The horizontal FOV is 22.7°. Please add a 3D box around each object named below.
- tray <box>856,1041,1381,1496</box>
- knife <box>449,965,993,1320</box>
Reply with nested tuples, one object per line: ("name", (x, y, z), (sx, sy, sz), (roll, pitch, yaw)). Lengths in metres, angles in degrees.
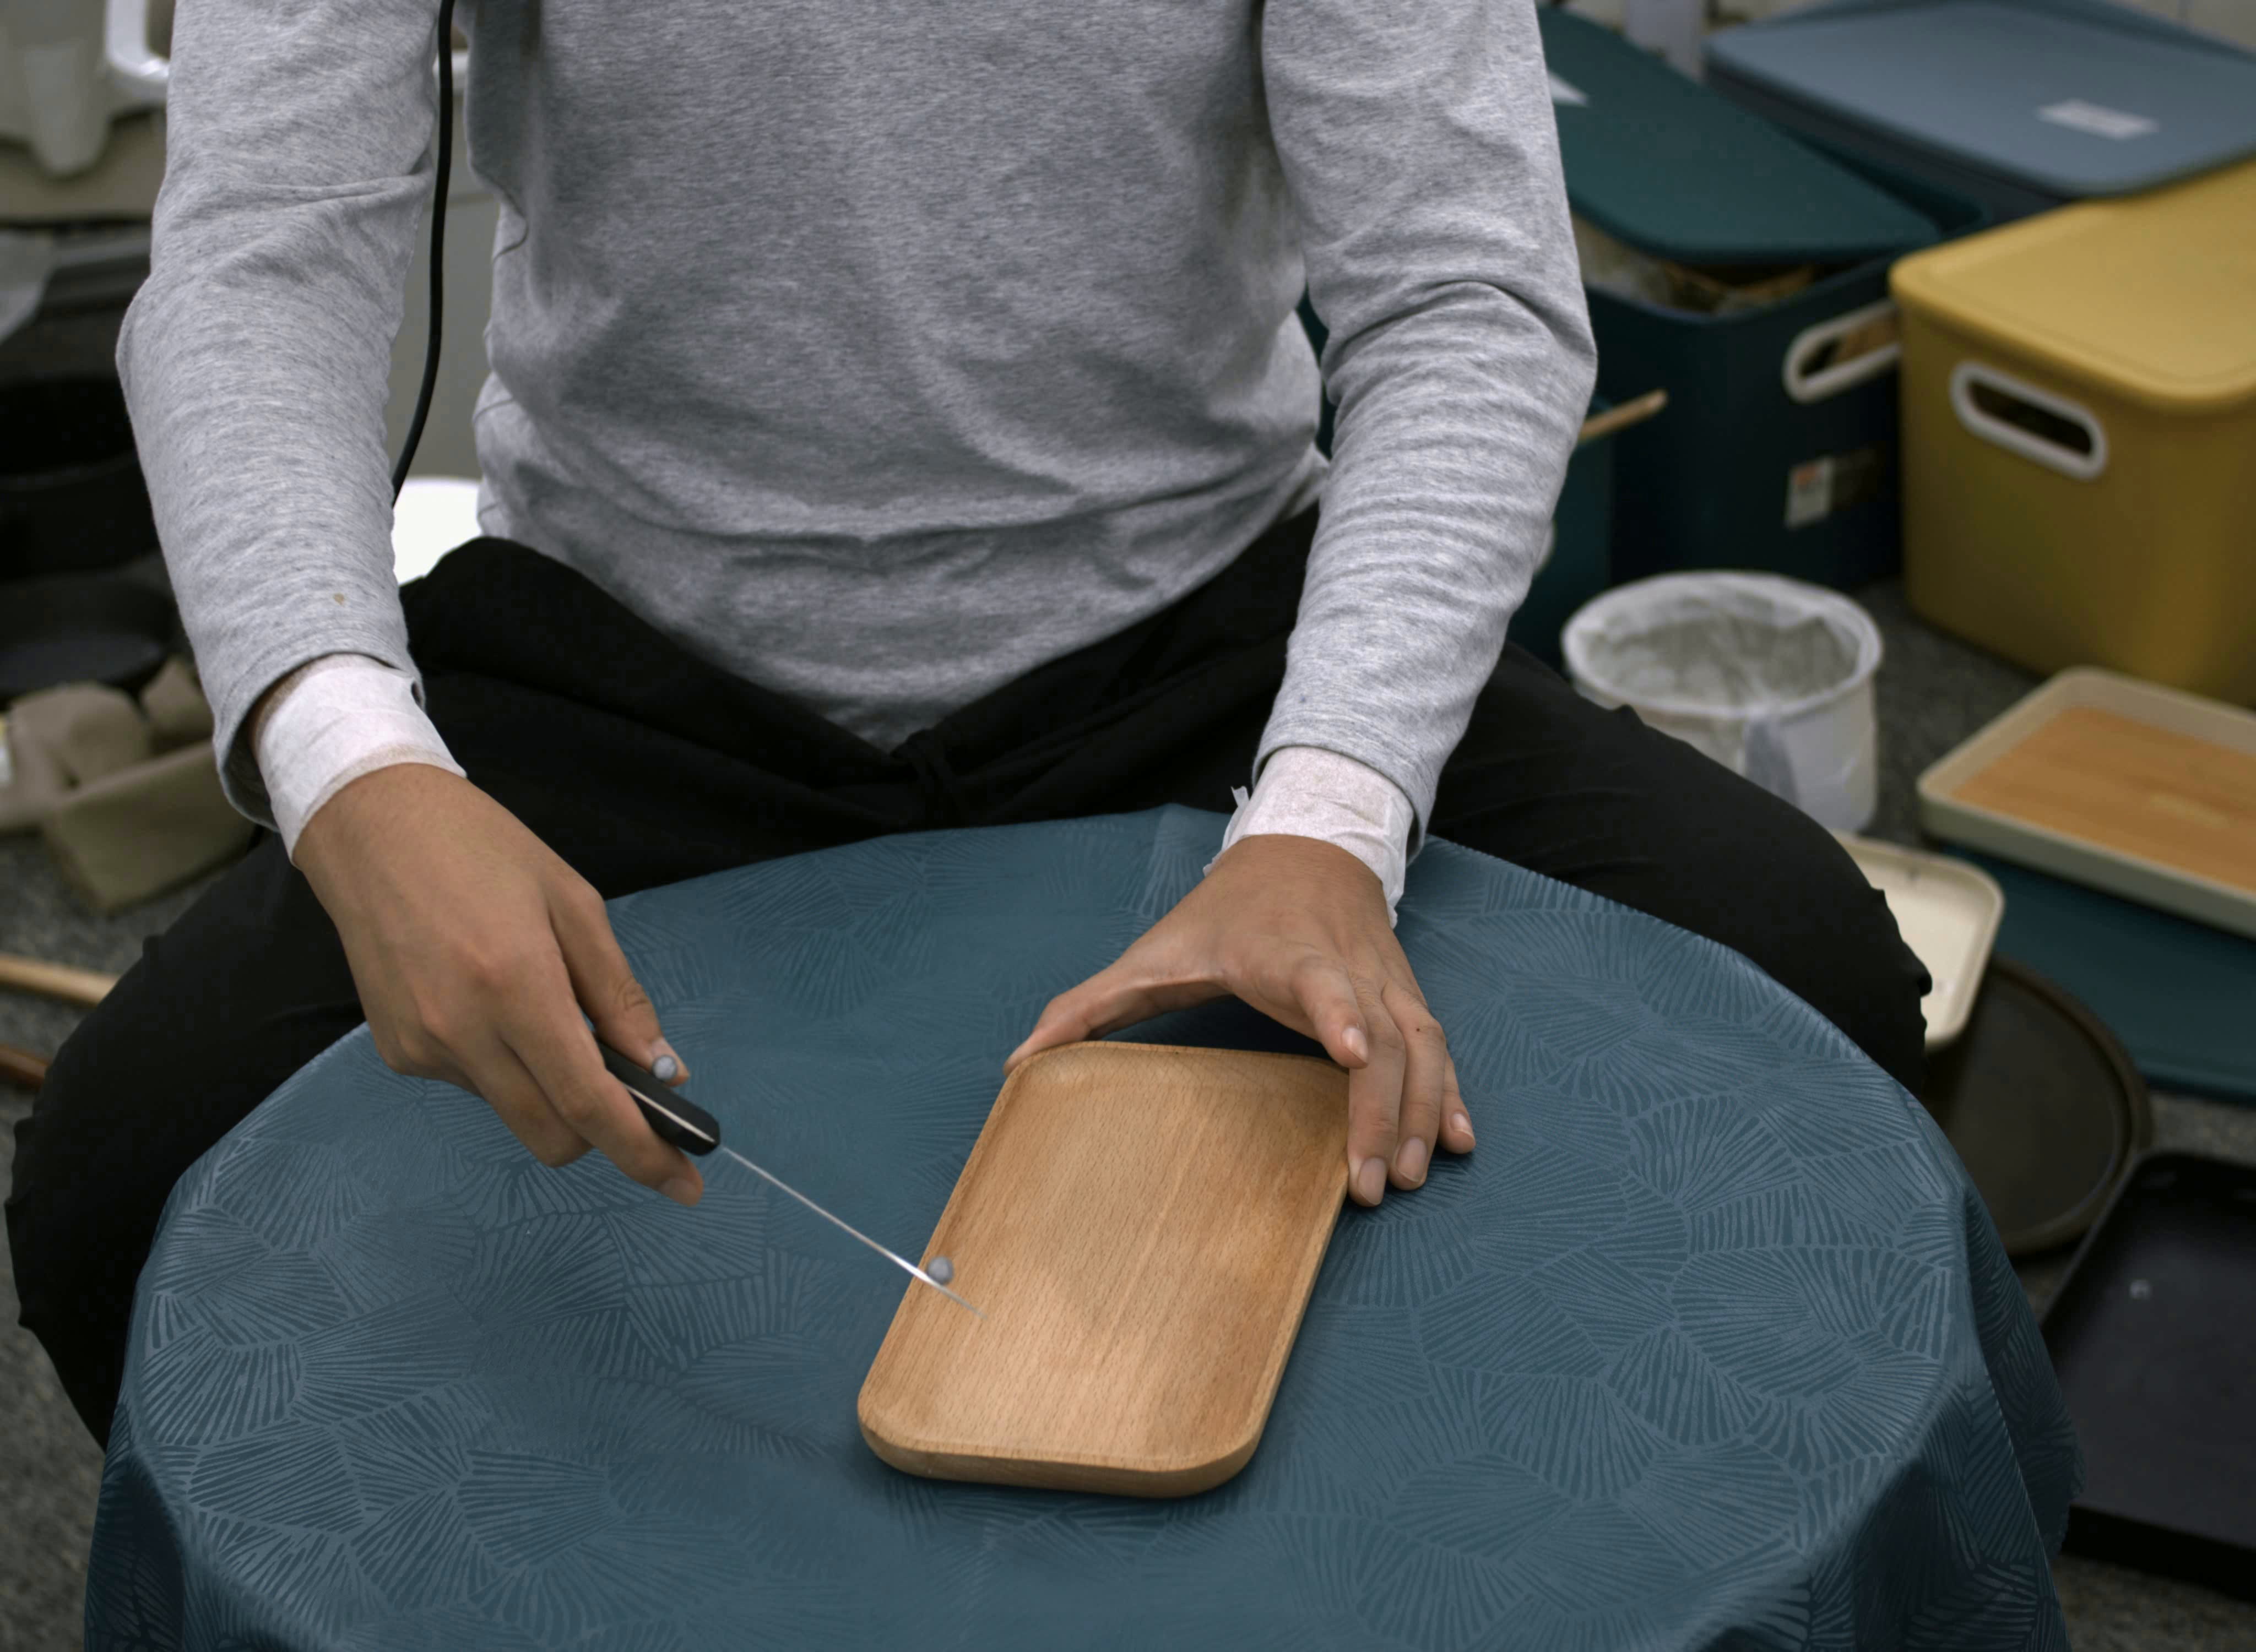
("tray", (0.000, 0.139, 1.809), (0.130, 0.022, 0.255), (6, 28, 12))
("knife", (-0.128, 0.097, 1.729), (0.238, 0.024, 0.016), (29, 82, 33))
